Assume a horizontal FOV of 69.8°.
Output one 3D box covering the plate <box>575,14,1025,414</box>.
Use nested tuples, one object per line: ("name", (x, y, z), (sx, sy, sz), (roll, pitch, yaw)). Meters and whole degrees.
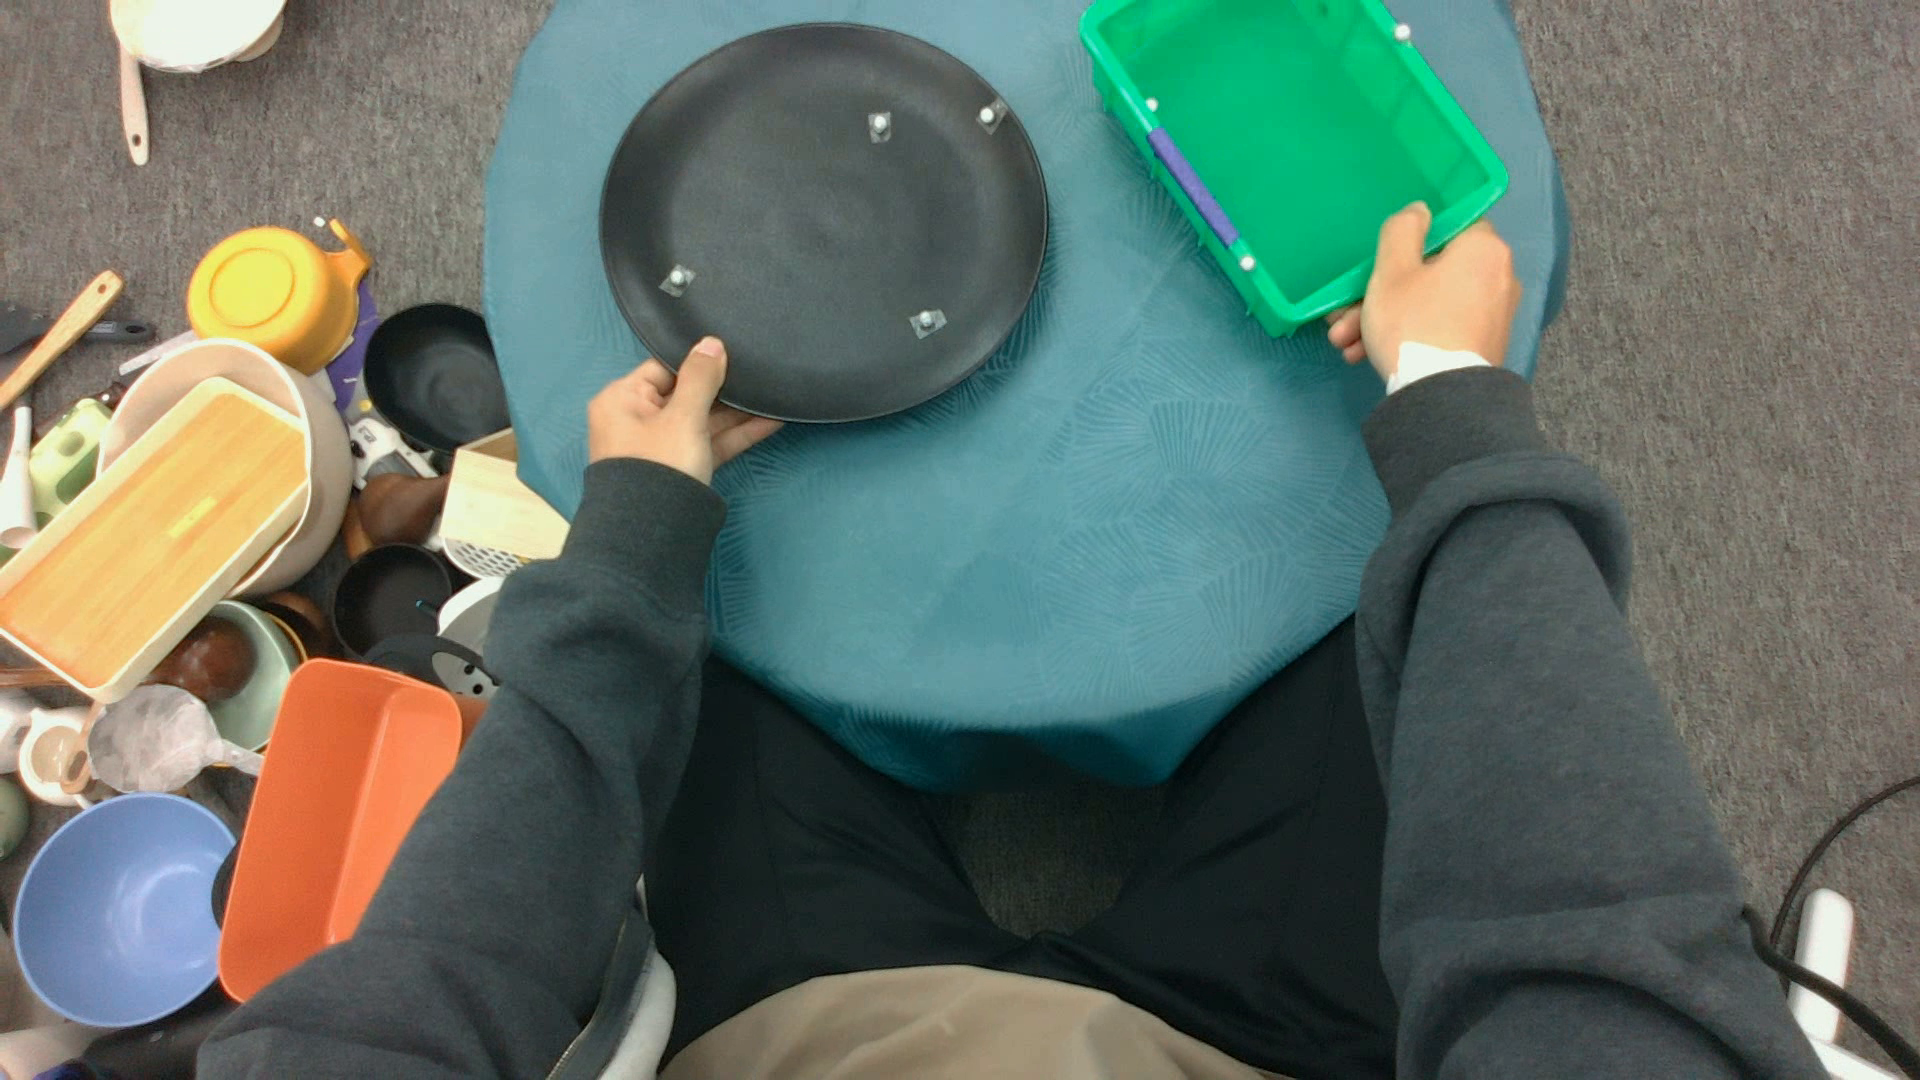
("plate", (-0.086, -0.179, 0.754), (0.244, 0.023, 0.245), (1, 73, -2))

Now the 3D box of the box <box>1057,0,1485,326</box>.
("box", (0.159, -0.224, 0.732), (0.138, 0.065, 0.210), (-34, 84, -1))
